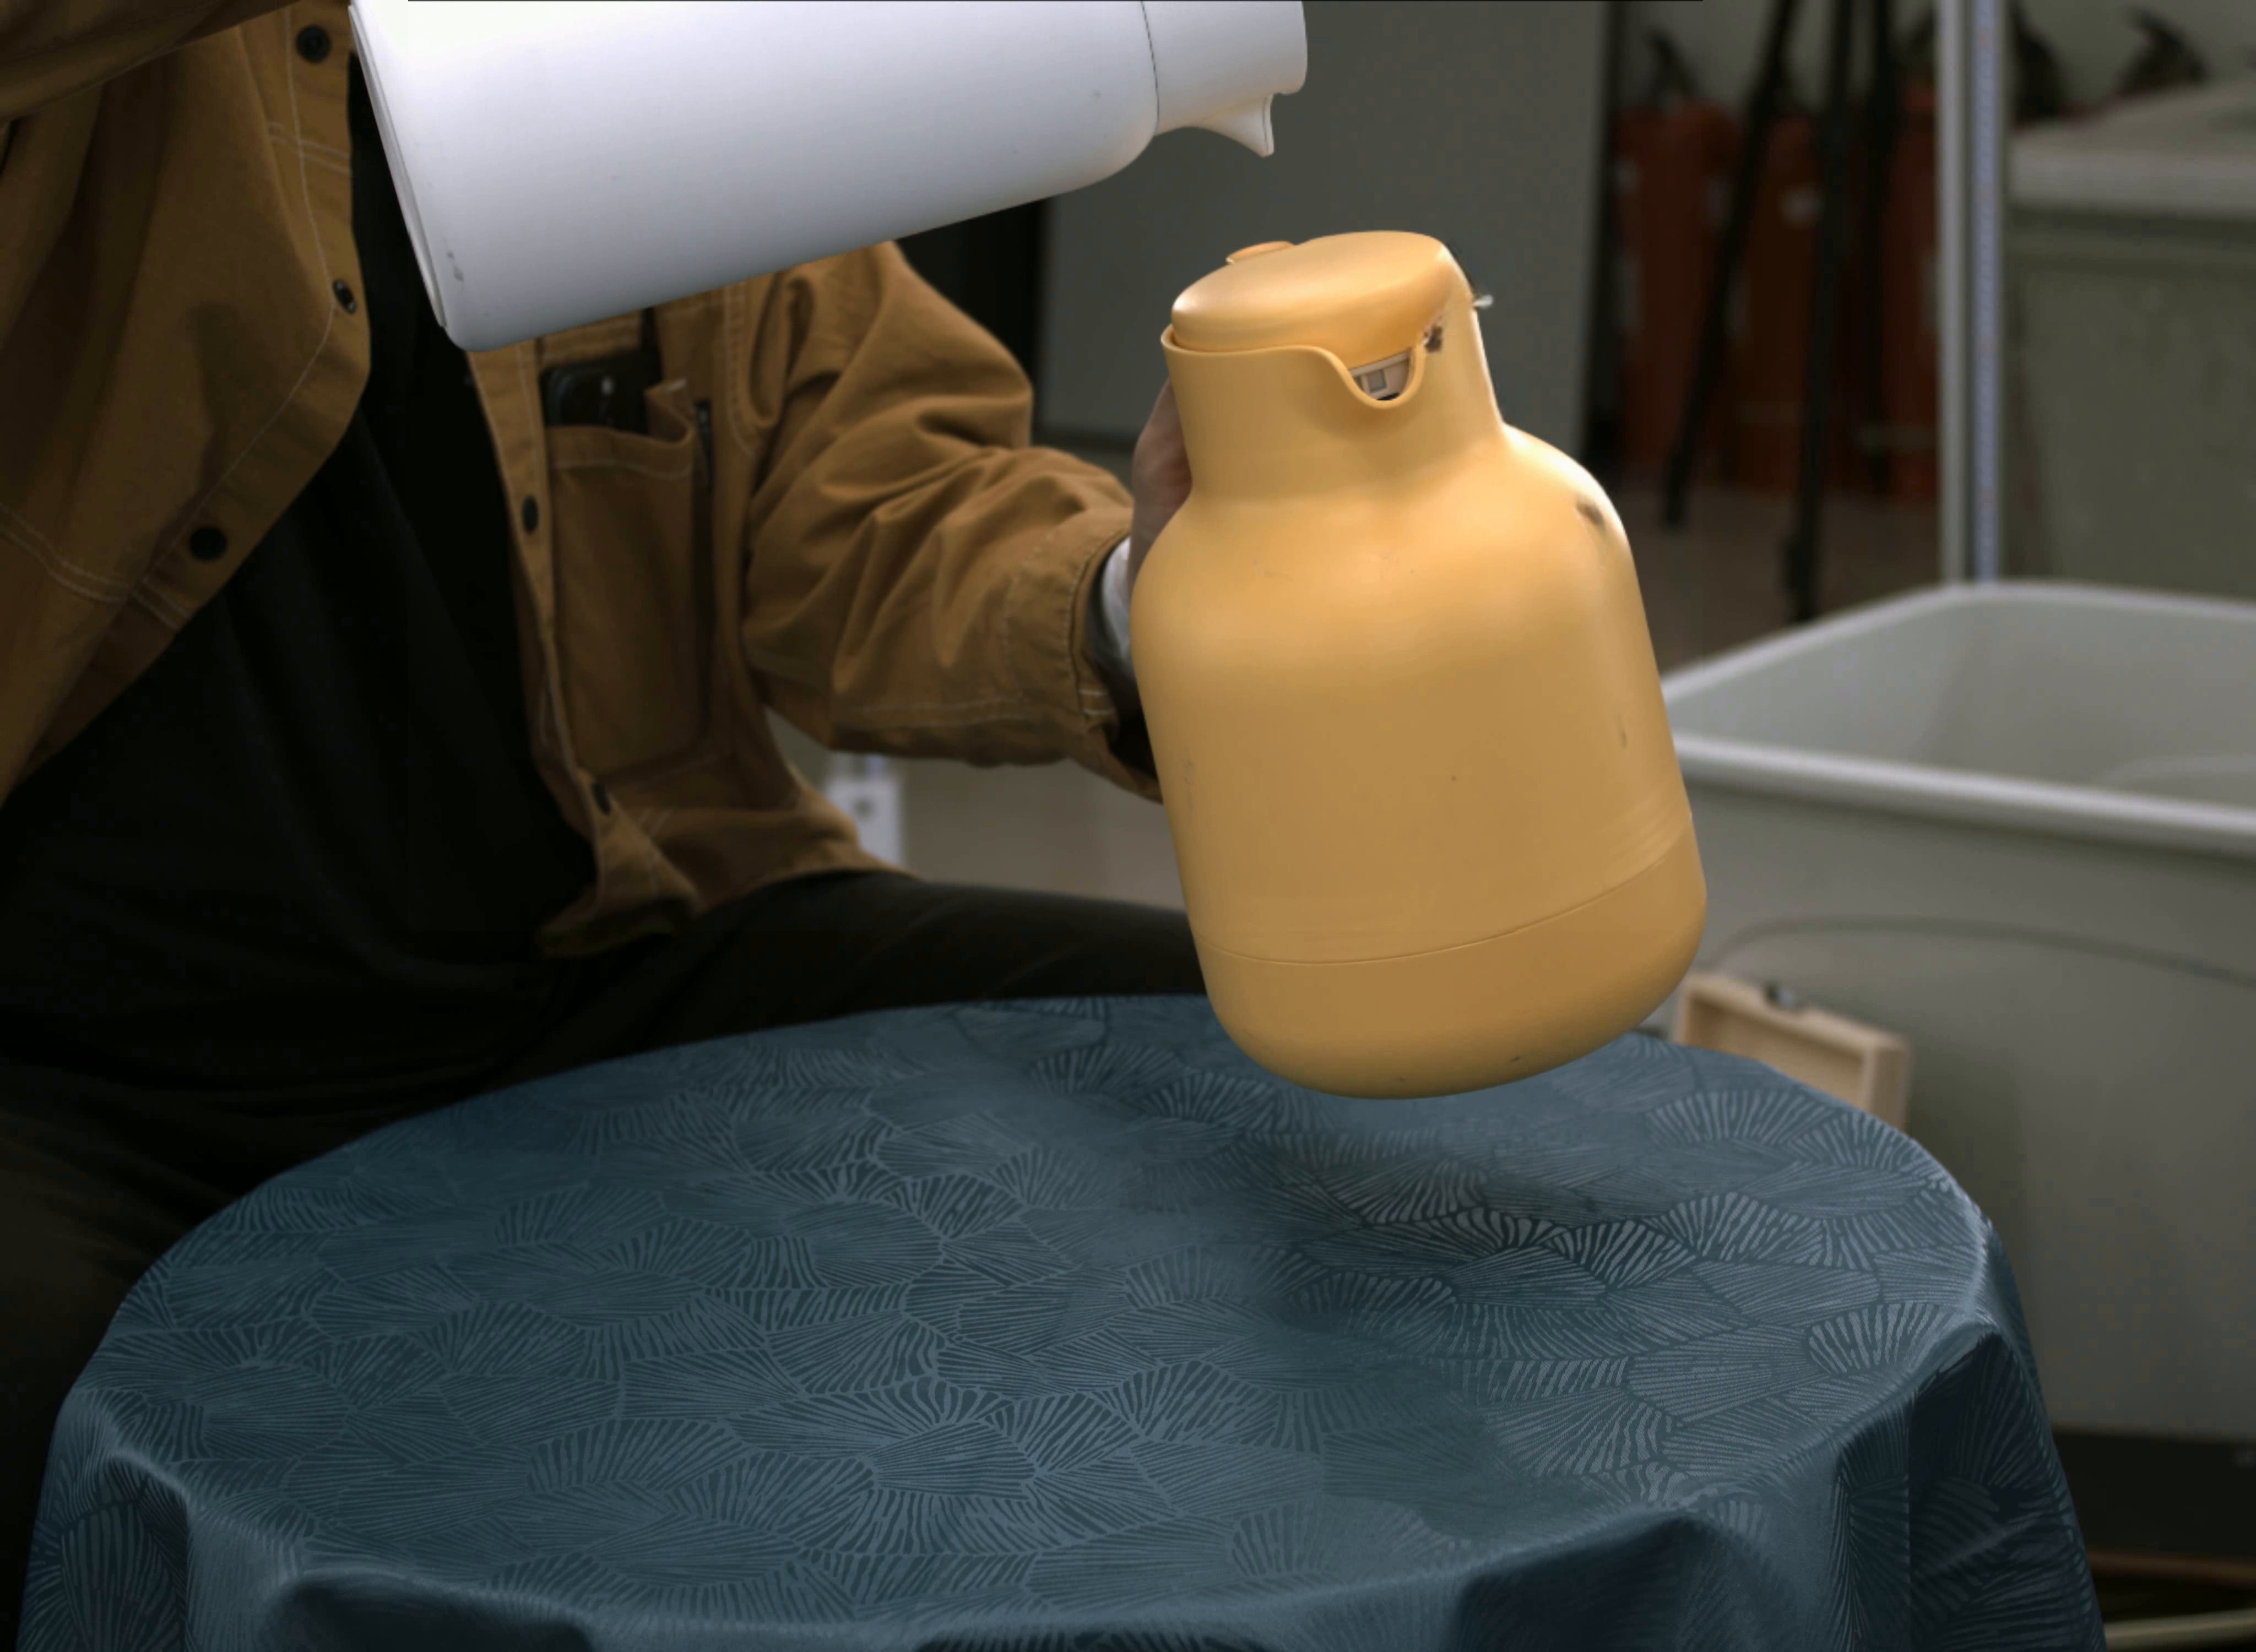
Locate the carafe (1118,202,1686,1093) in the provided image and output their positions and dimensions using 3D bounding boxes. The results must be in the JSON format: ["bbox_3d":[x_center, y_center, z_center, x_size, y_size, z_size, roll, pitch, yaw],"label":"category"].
[{"bbox_3d":[0.076,-0.065,1.695,0.161,0.262,0.204,-14,18,-7],"label":"carafe"}]

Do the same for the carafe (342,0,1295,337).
[{"bbox_3d":[-0.092,-0.249,1.572,0.265,0.173,0.125,-16,27,-4],"label":"carafe"}]
